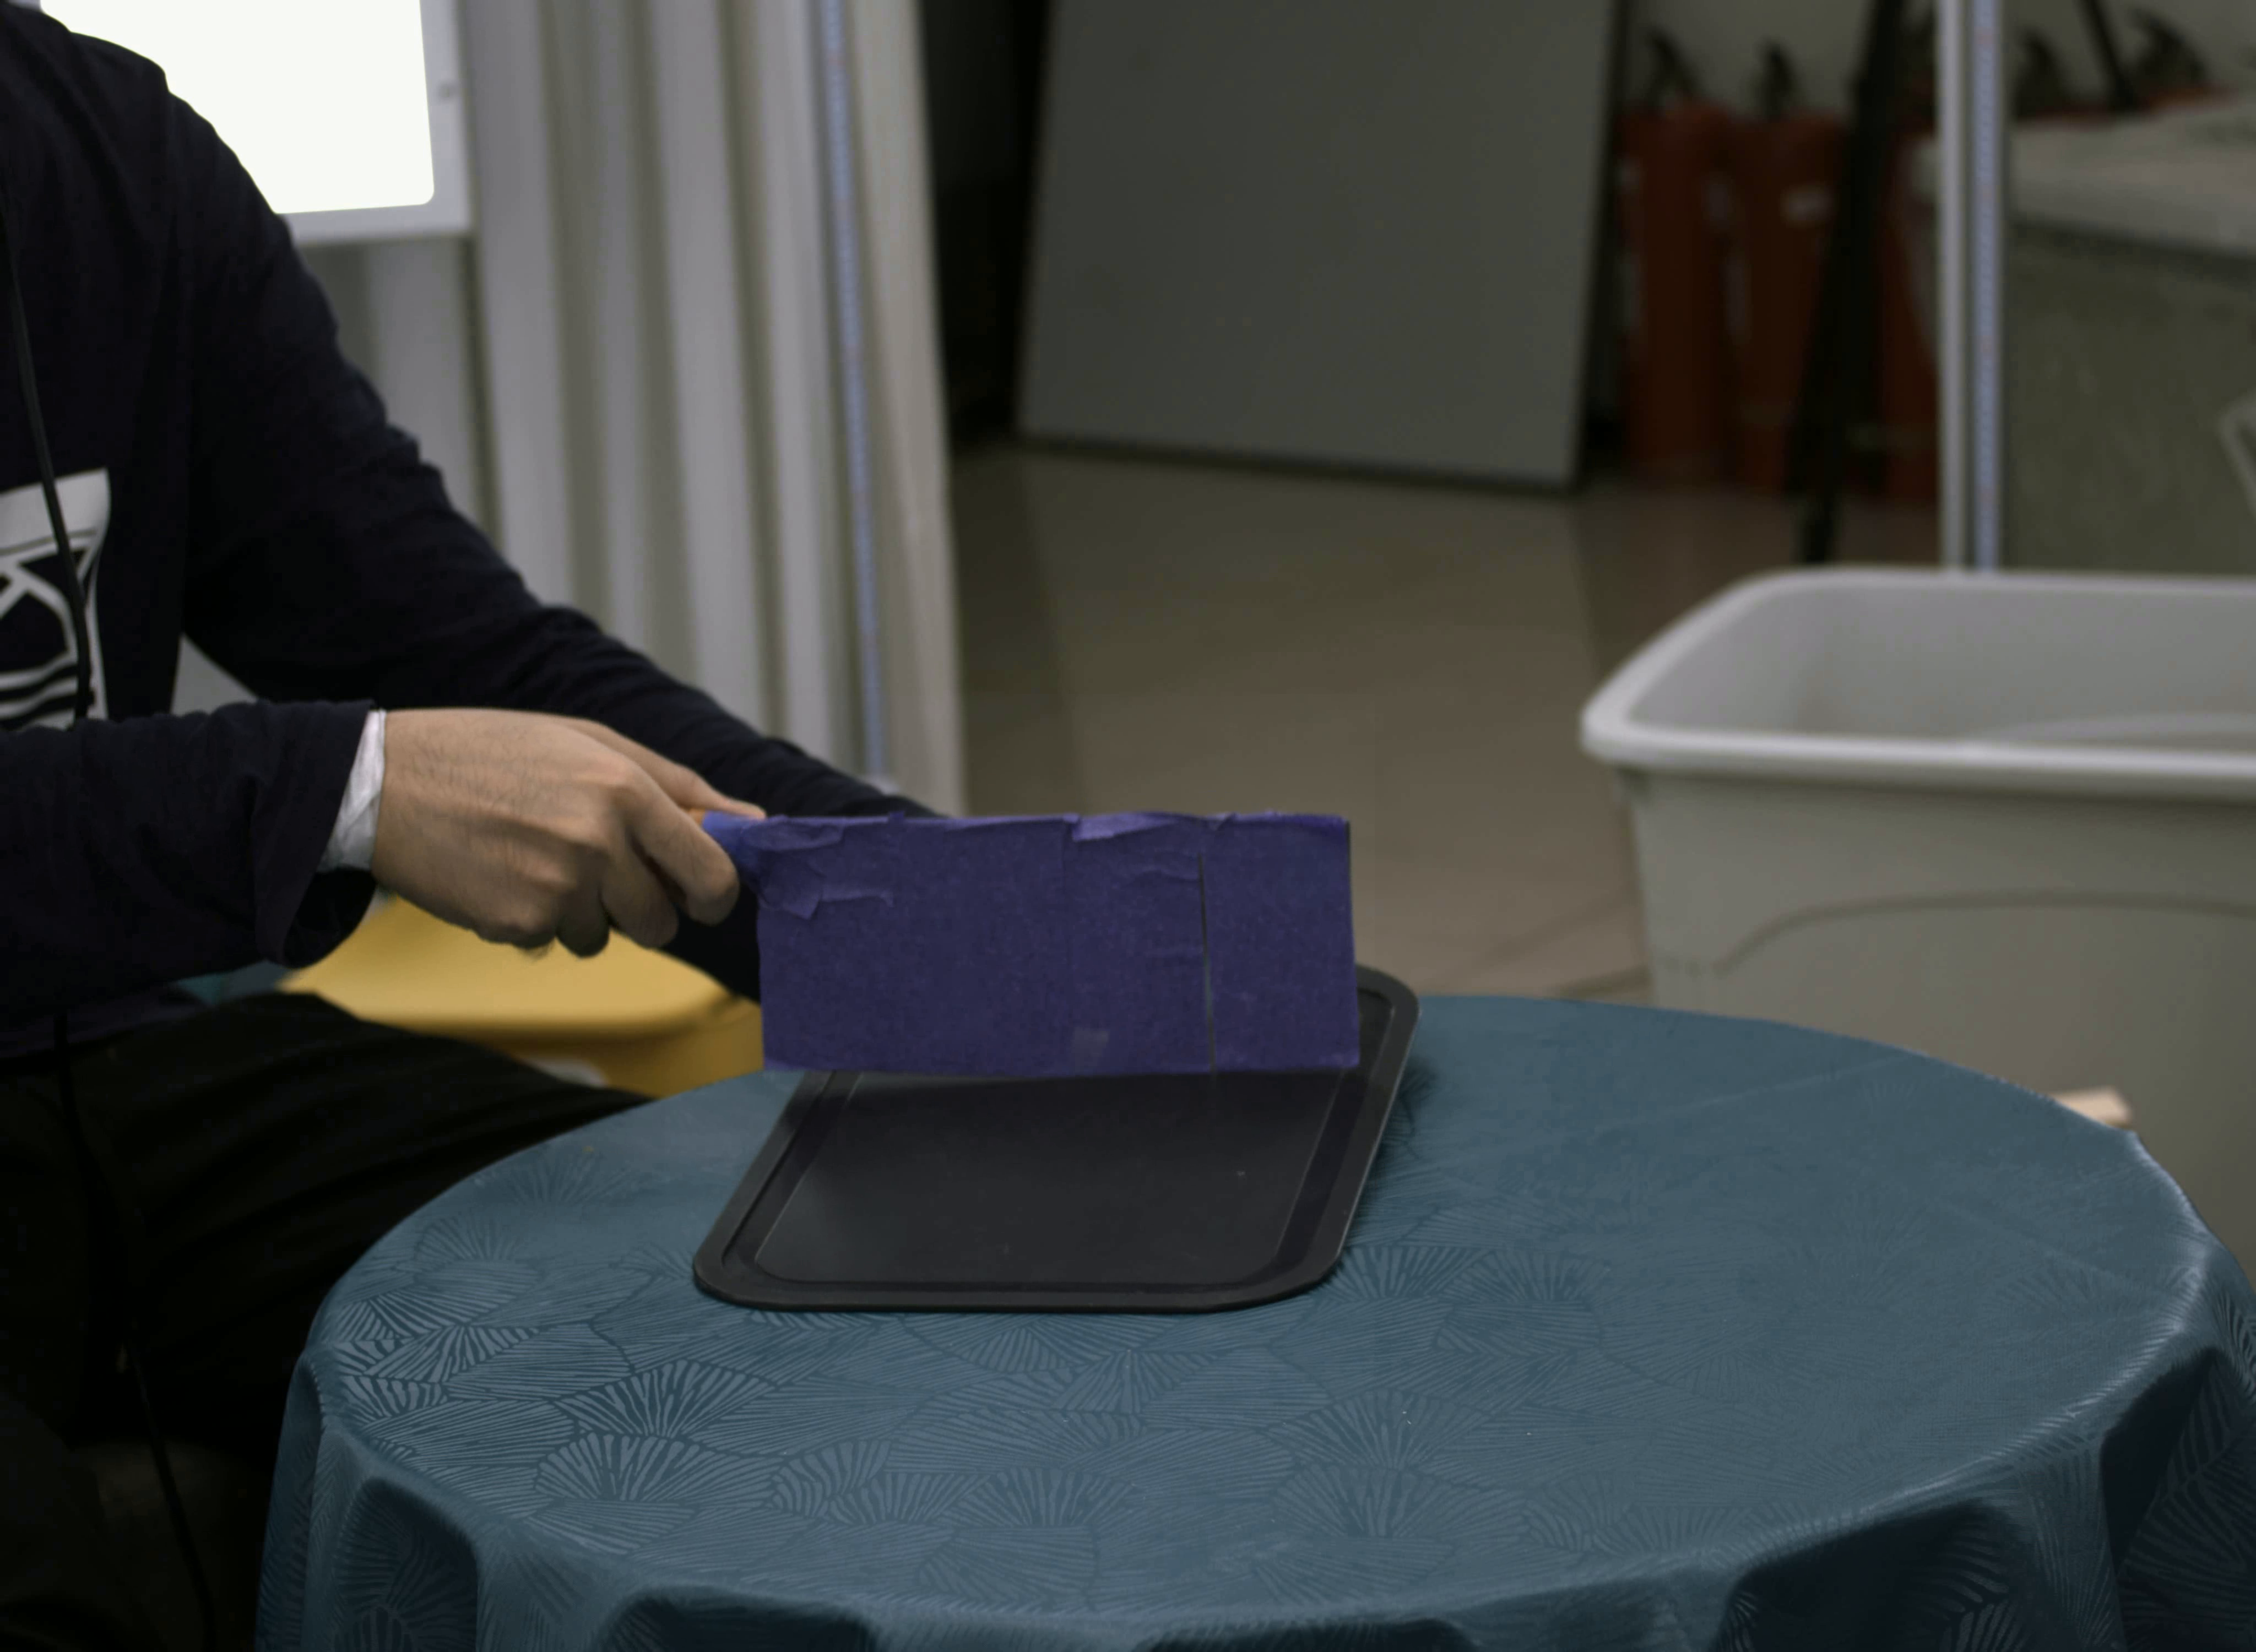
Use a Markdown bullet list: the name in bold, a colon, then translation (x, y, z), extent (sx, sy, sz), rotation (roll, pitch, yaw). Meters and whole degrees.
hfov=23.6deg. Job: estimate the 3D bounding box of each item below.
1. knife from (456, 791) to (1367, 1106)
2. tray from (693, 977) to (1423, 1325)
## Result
- **knife**: translation (-0.074, 0.044, 1.843), extent (0.313, 0.105, 0.032), rotation (-1, 6, 10)
- **tray**: translation (-0.016, 0.100, 1.813), extent (0.210, 0.010, 0.324), rotation (0, 18, 12)
